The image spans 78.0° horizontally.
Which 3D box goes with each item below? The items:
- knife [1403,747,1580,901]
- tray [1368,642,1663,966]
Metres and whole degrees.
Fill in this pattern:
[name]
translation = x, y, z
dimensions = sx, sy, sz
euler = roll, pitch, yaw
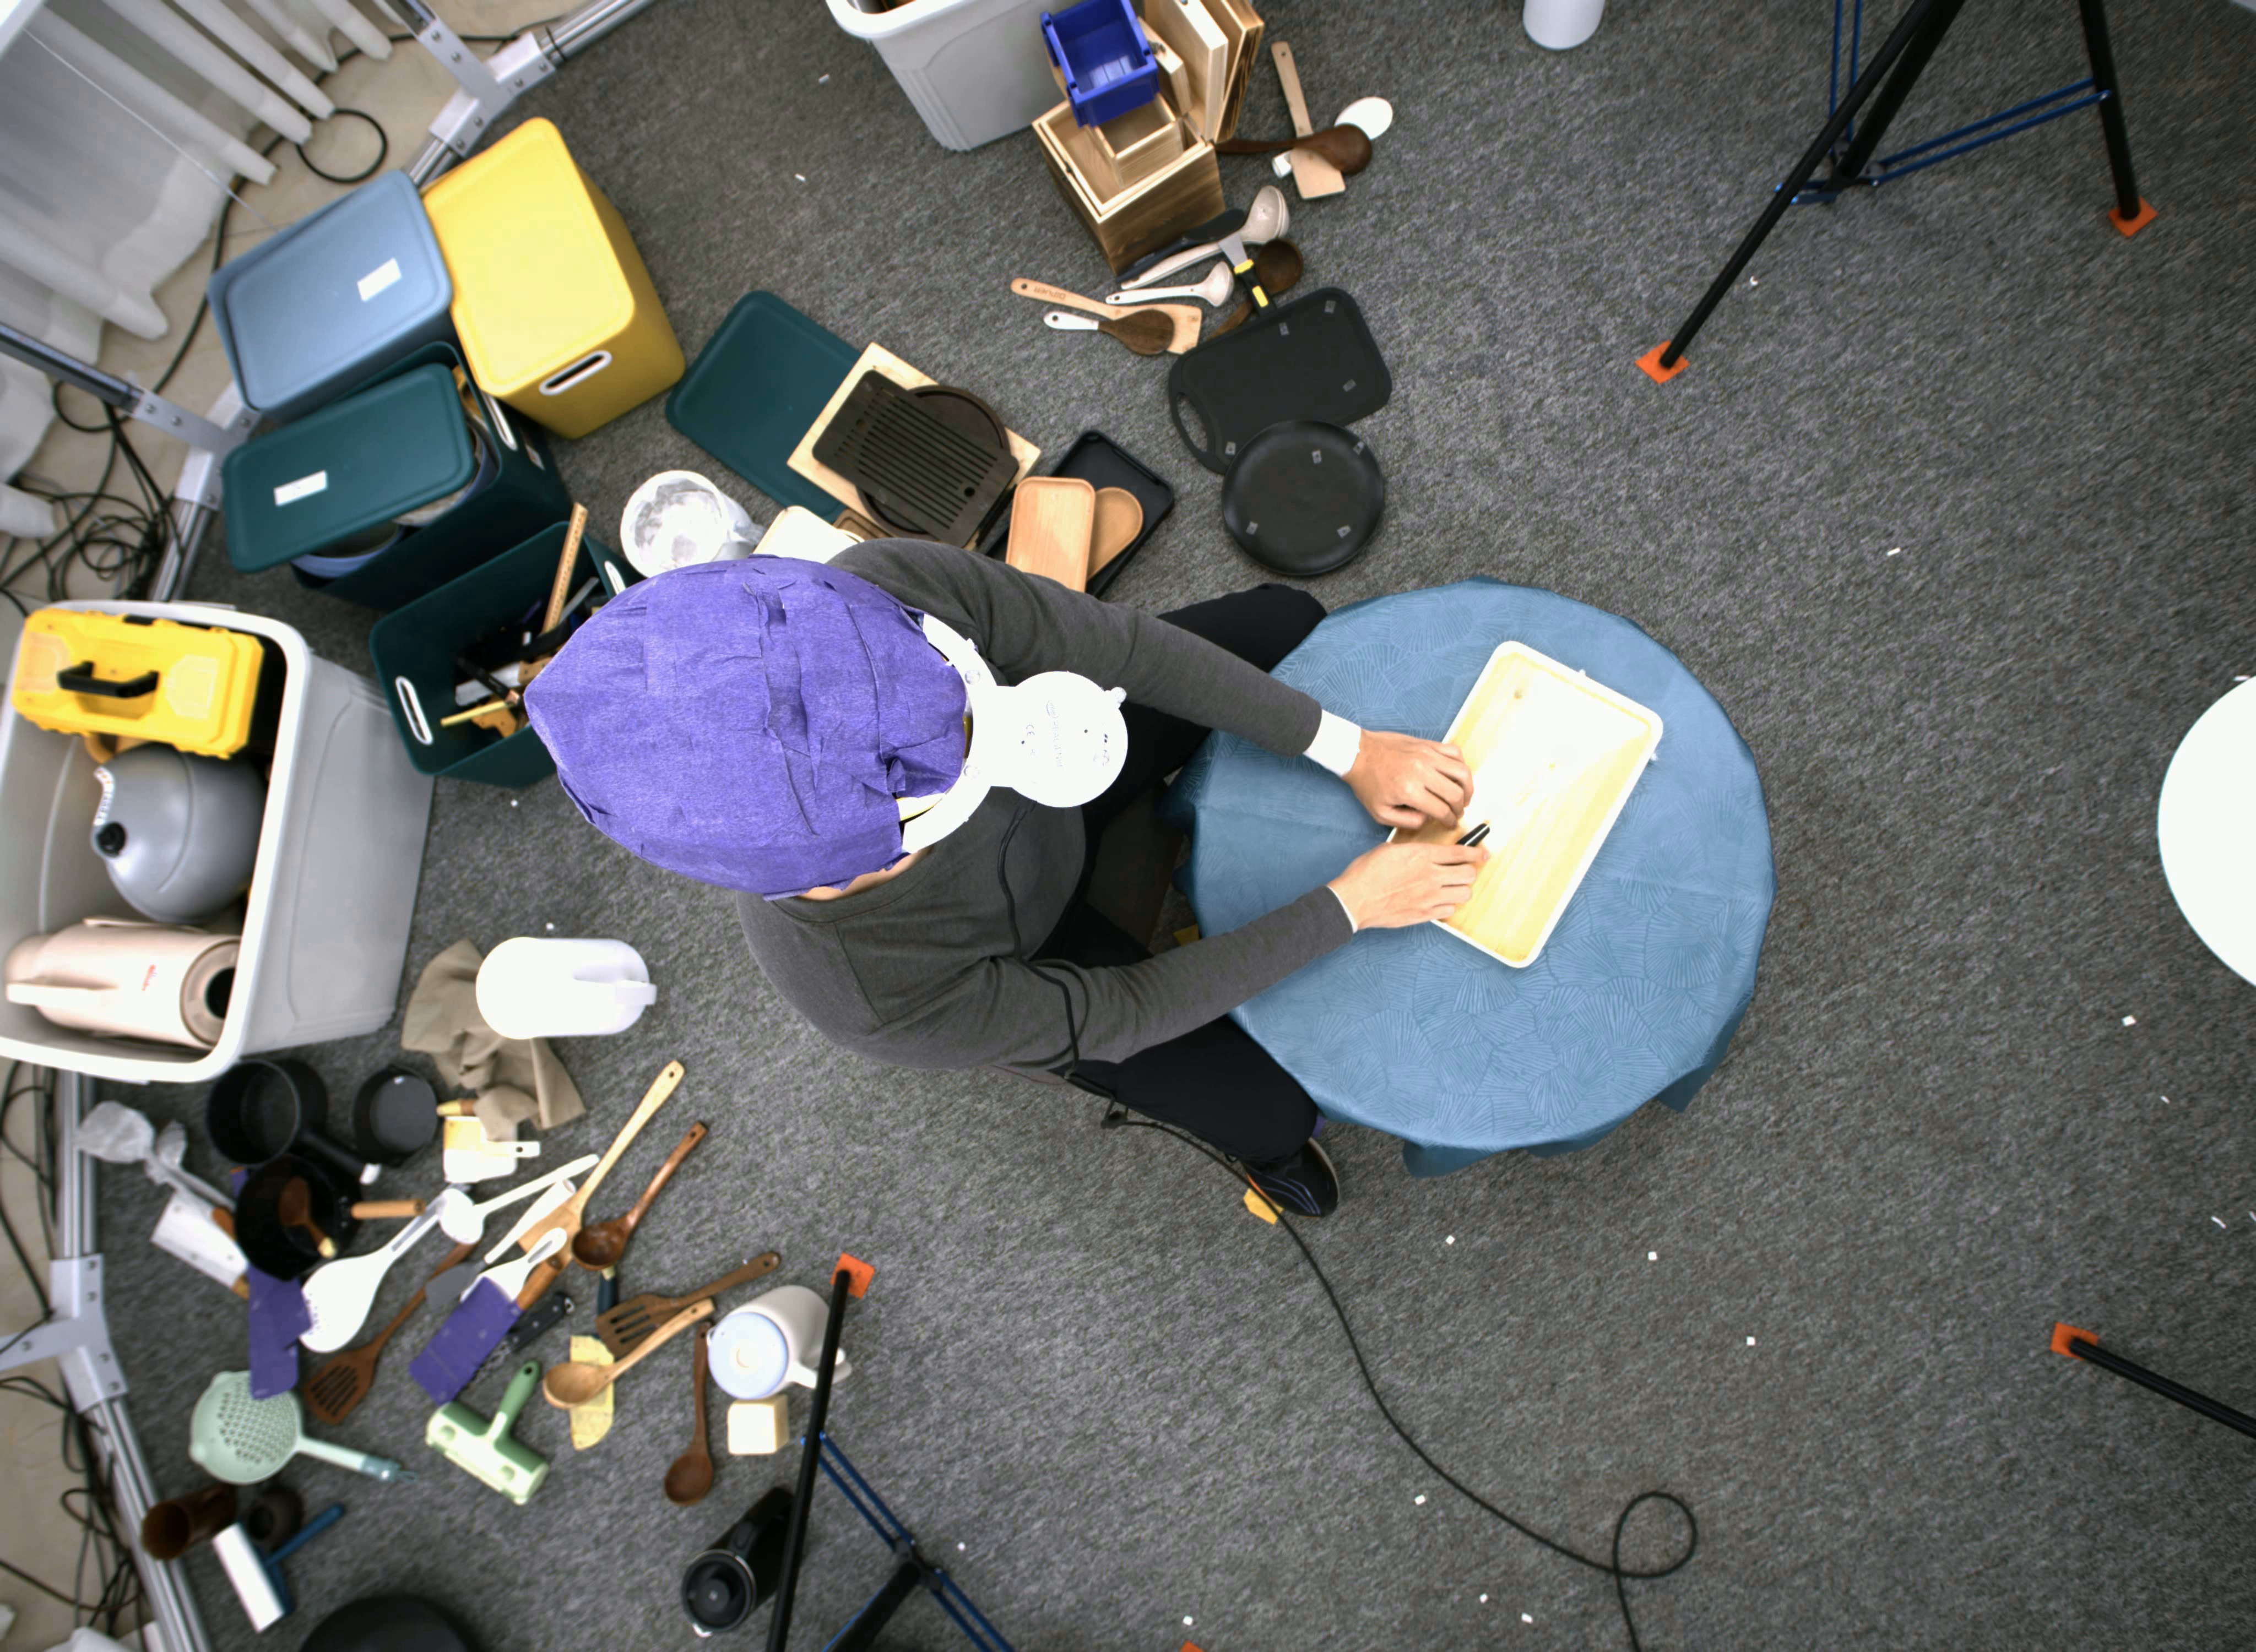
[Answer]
[knife]
translation = 0.376, -0.007, 1.414
dimensions = 0.239, 0.024, 0.016
euler = -41, 76, 4
[tray]
translation = 0.401, -0.026, 1.428
dimensions = 0.191, 0.027, 0.301
euler = 31, 93, 12
